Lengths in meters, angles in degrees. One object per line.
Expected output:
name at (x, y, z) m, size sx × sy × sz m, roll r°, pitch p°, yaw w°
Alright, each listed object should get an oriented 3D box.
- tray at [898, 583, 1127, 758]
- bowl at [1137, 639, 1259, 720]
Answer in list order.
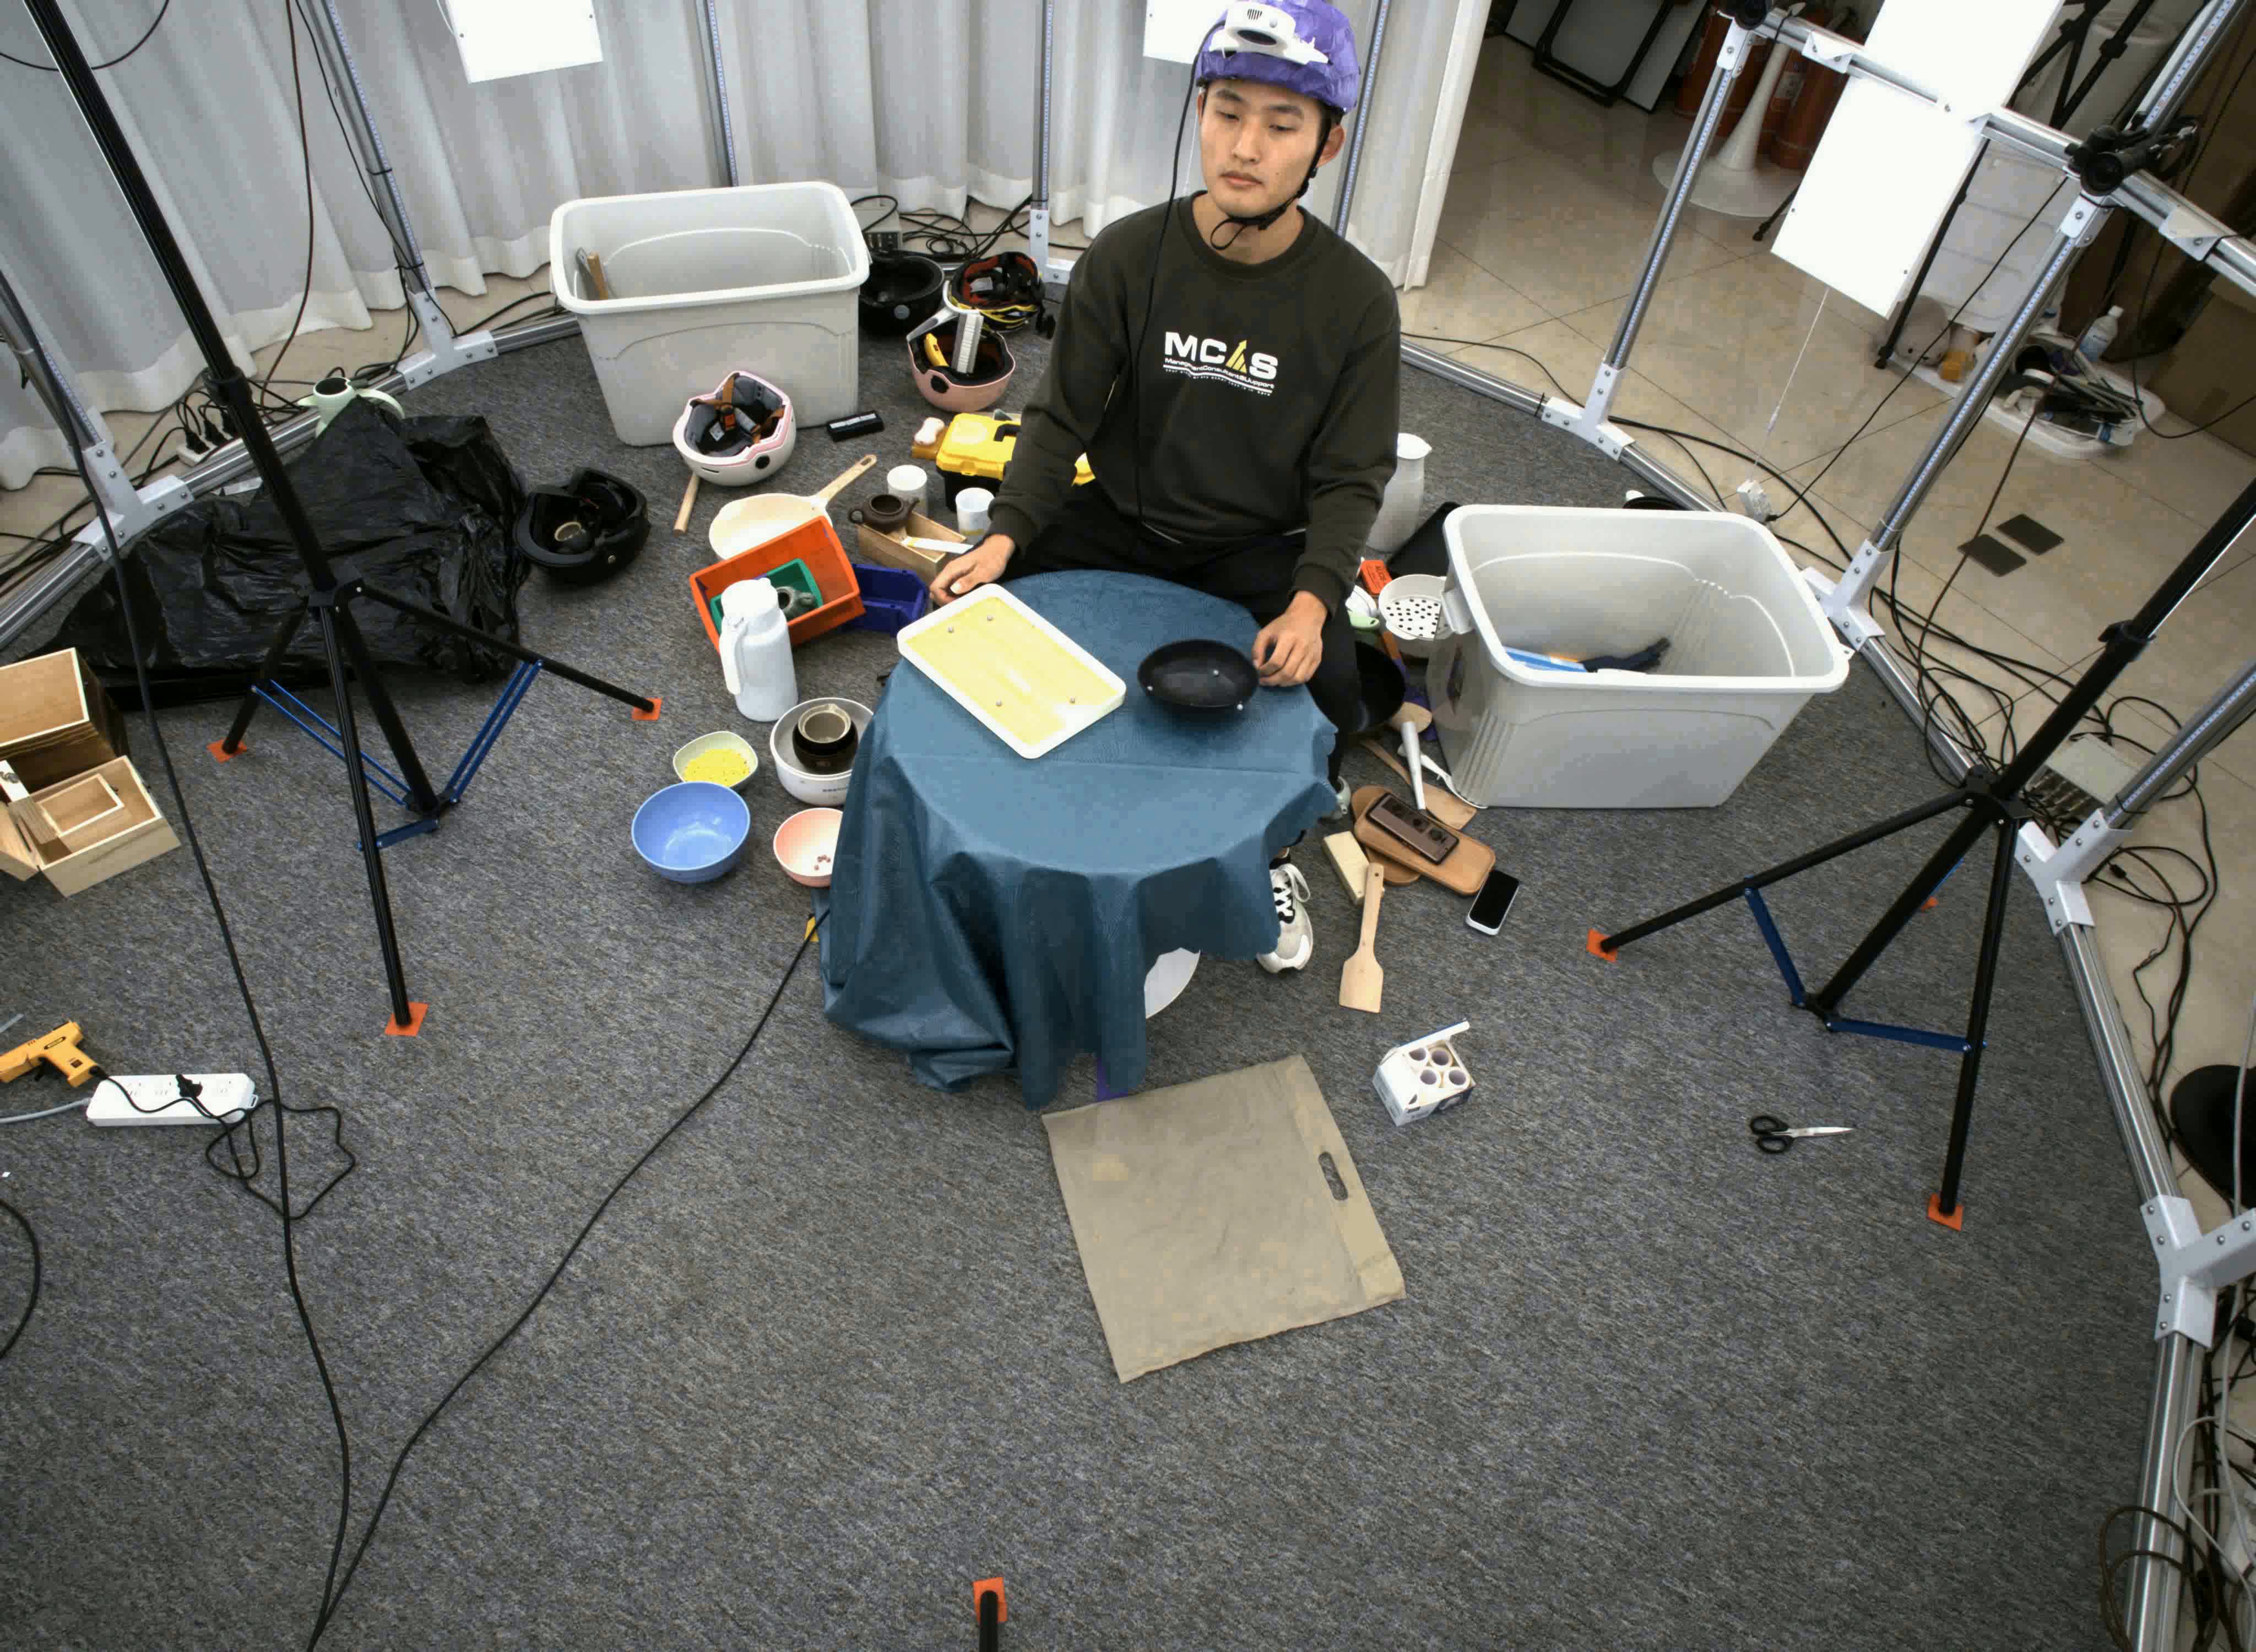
tray at (-0.165, -0.227, 1.832) m, size 0.193 × 0.027 × 0.305 m, roll -34°, pitch 59°, yaw -29°
bowl at (0.097, -0.194, 1.801) m, size 0.170 × 0.065 × 0.141 m, roll 3°, pitch 48°, yaw 1°
